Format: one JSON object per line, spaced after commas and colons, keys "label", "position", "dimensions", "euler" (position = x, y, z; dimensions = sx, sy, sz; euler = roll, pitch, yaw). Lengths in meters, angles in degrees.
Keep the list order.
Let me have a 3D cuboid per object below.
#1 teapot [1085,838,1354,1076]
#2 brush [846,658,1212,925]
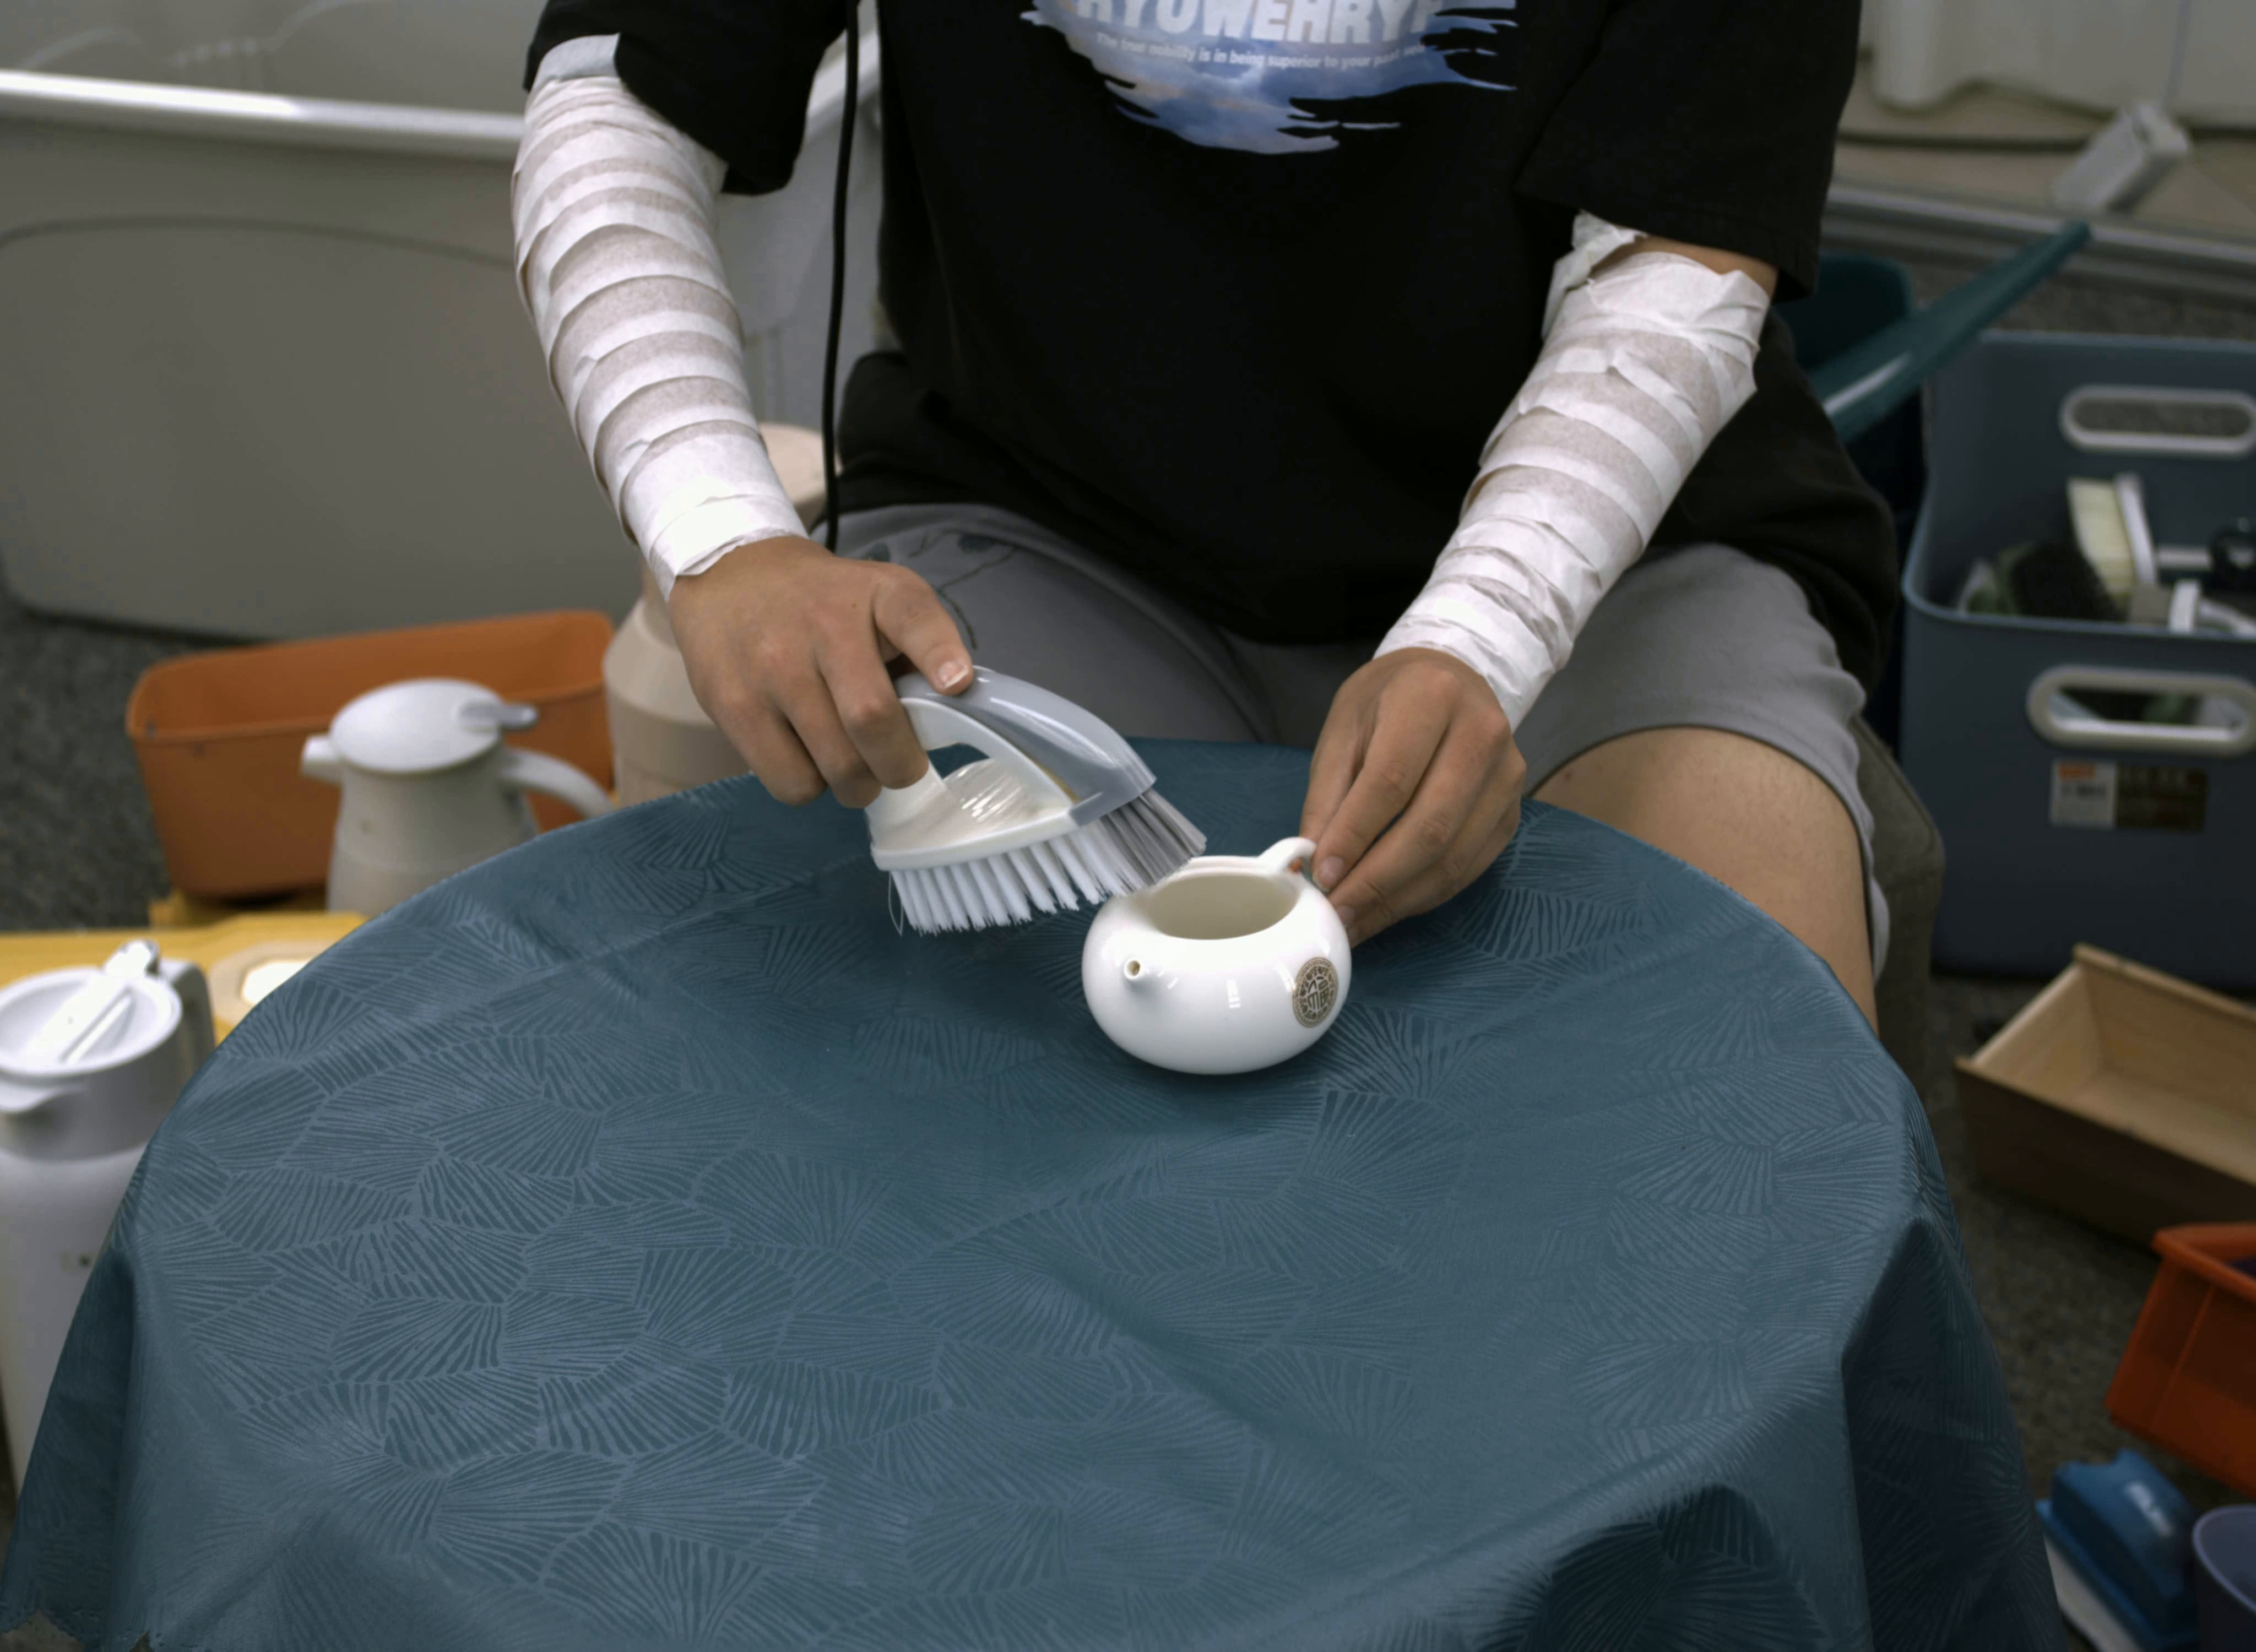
{"label": "teapot", "position": [0.037, 0.045, 1.949], "dimensions": [0.093, 0.056, 0.129], "euler": [8, 28, 29]}
{"label": "brush", "position": [-0.041, -0.020, 1.962], "dimensions": [0.062, 0.094, 0.174], "euler": [-45, 19, -25]}
